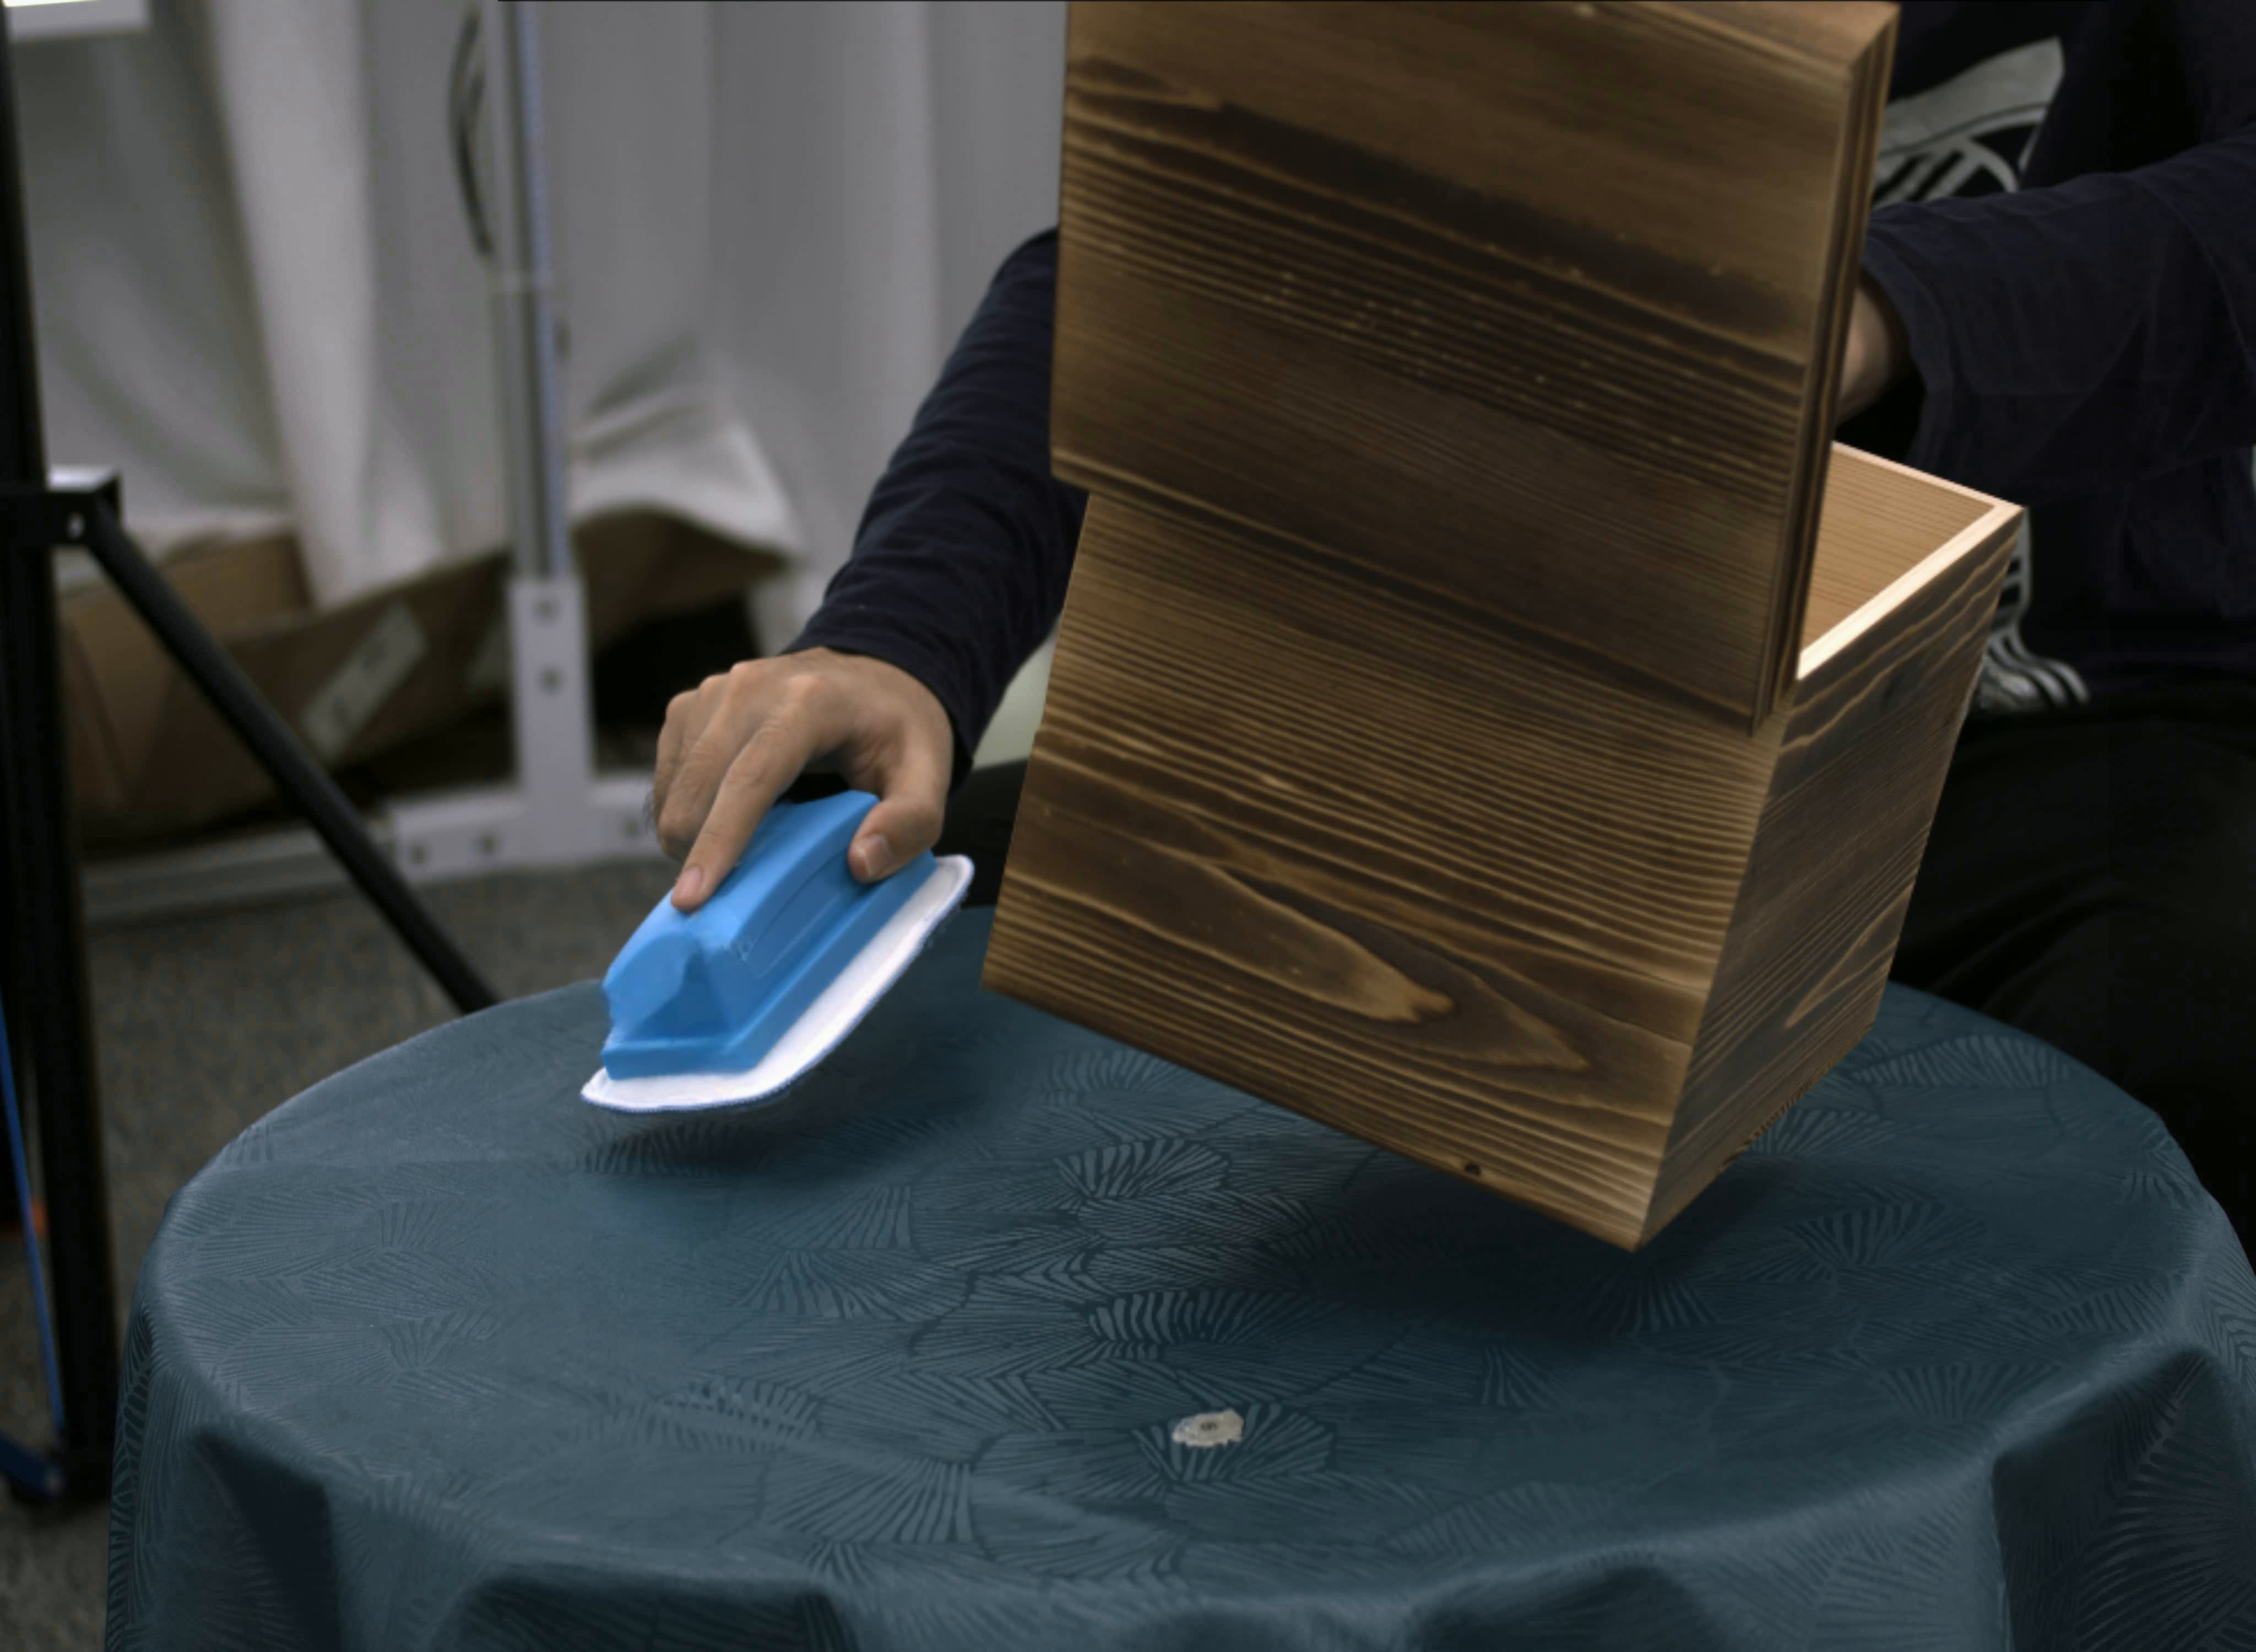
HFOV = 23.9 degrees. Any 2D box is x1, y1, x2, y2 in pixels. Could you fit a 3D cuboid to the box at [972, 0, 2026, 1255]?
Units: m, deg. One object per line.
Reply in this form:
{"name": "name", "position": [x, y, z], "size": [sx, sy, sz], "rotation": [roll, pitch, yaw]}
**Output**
{"name": "box", "position": [0.109, -0.097, 1.401], "size": [0.211, 0.376, 0.317], "rotation": [22, 24, 20]}

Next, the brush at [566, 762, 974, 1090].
{"name": "brush", "position": [-0.112, 0.026, 1.644], "size": [0.085, 0.055, 0.142], "rotation": [0, 32, 33]}
